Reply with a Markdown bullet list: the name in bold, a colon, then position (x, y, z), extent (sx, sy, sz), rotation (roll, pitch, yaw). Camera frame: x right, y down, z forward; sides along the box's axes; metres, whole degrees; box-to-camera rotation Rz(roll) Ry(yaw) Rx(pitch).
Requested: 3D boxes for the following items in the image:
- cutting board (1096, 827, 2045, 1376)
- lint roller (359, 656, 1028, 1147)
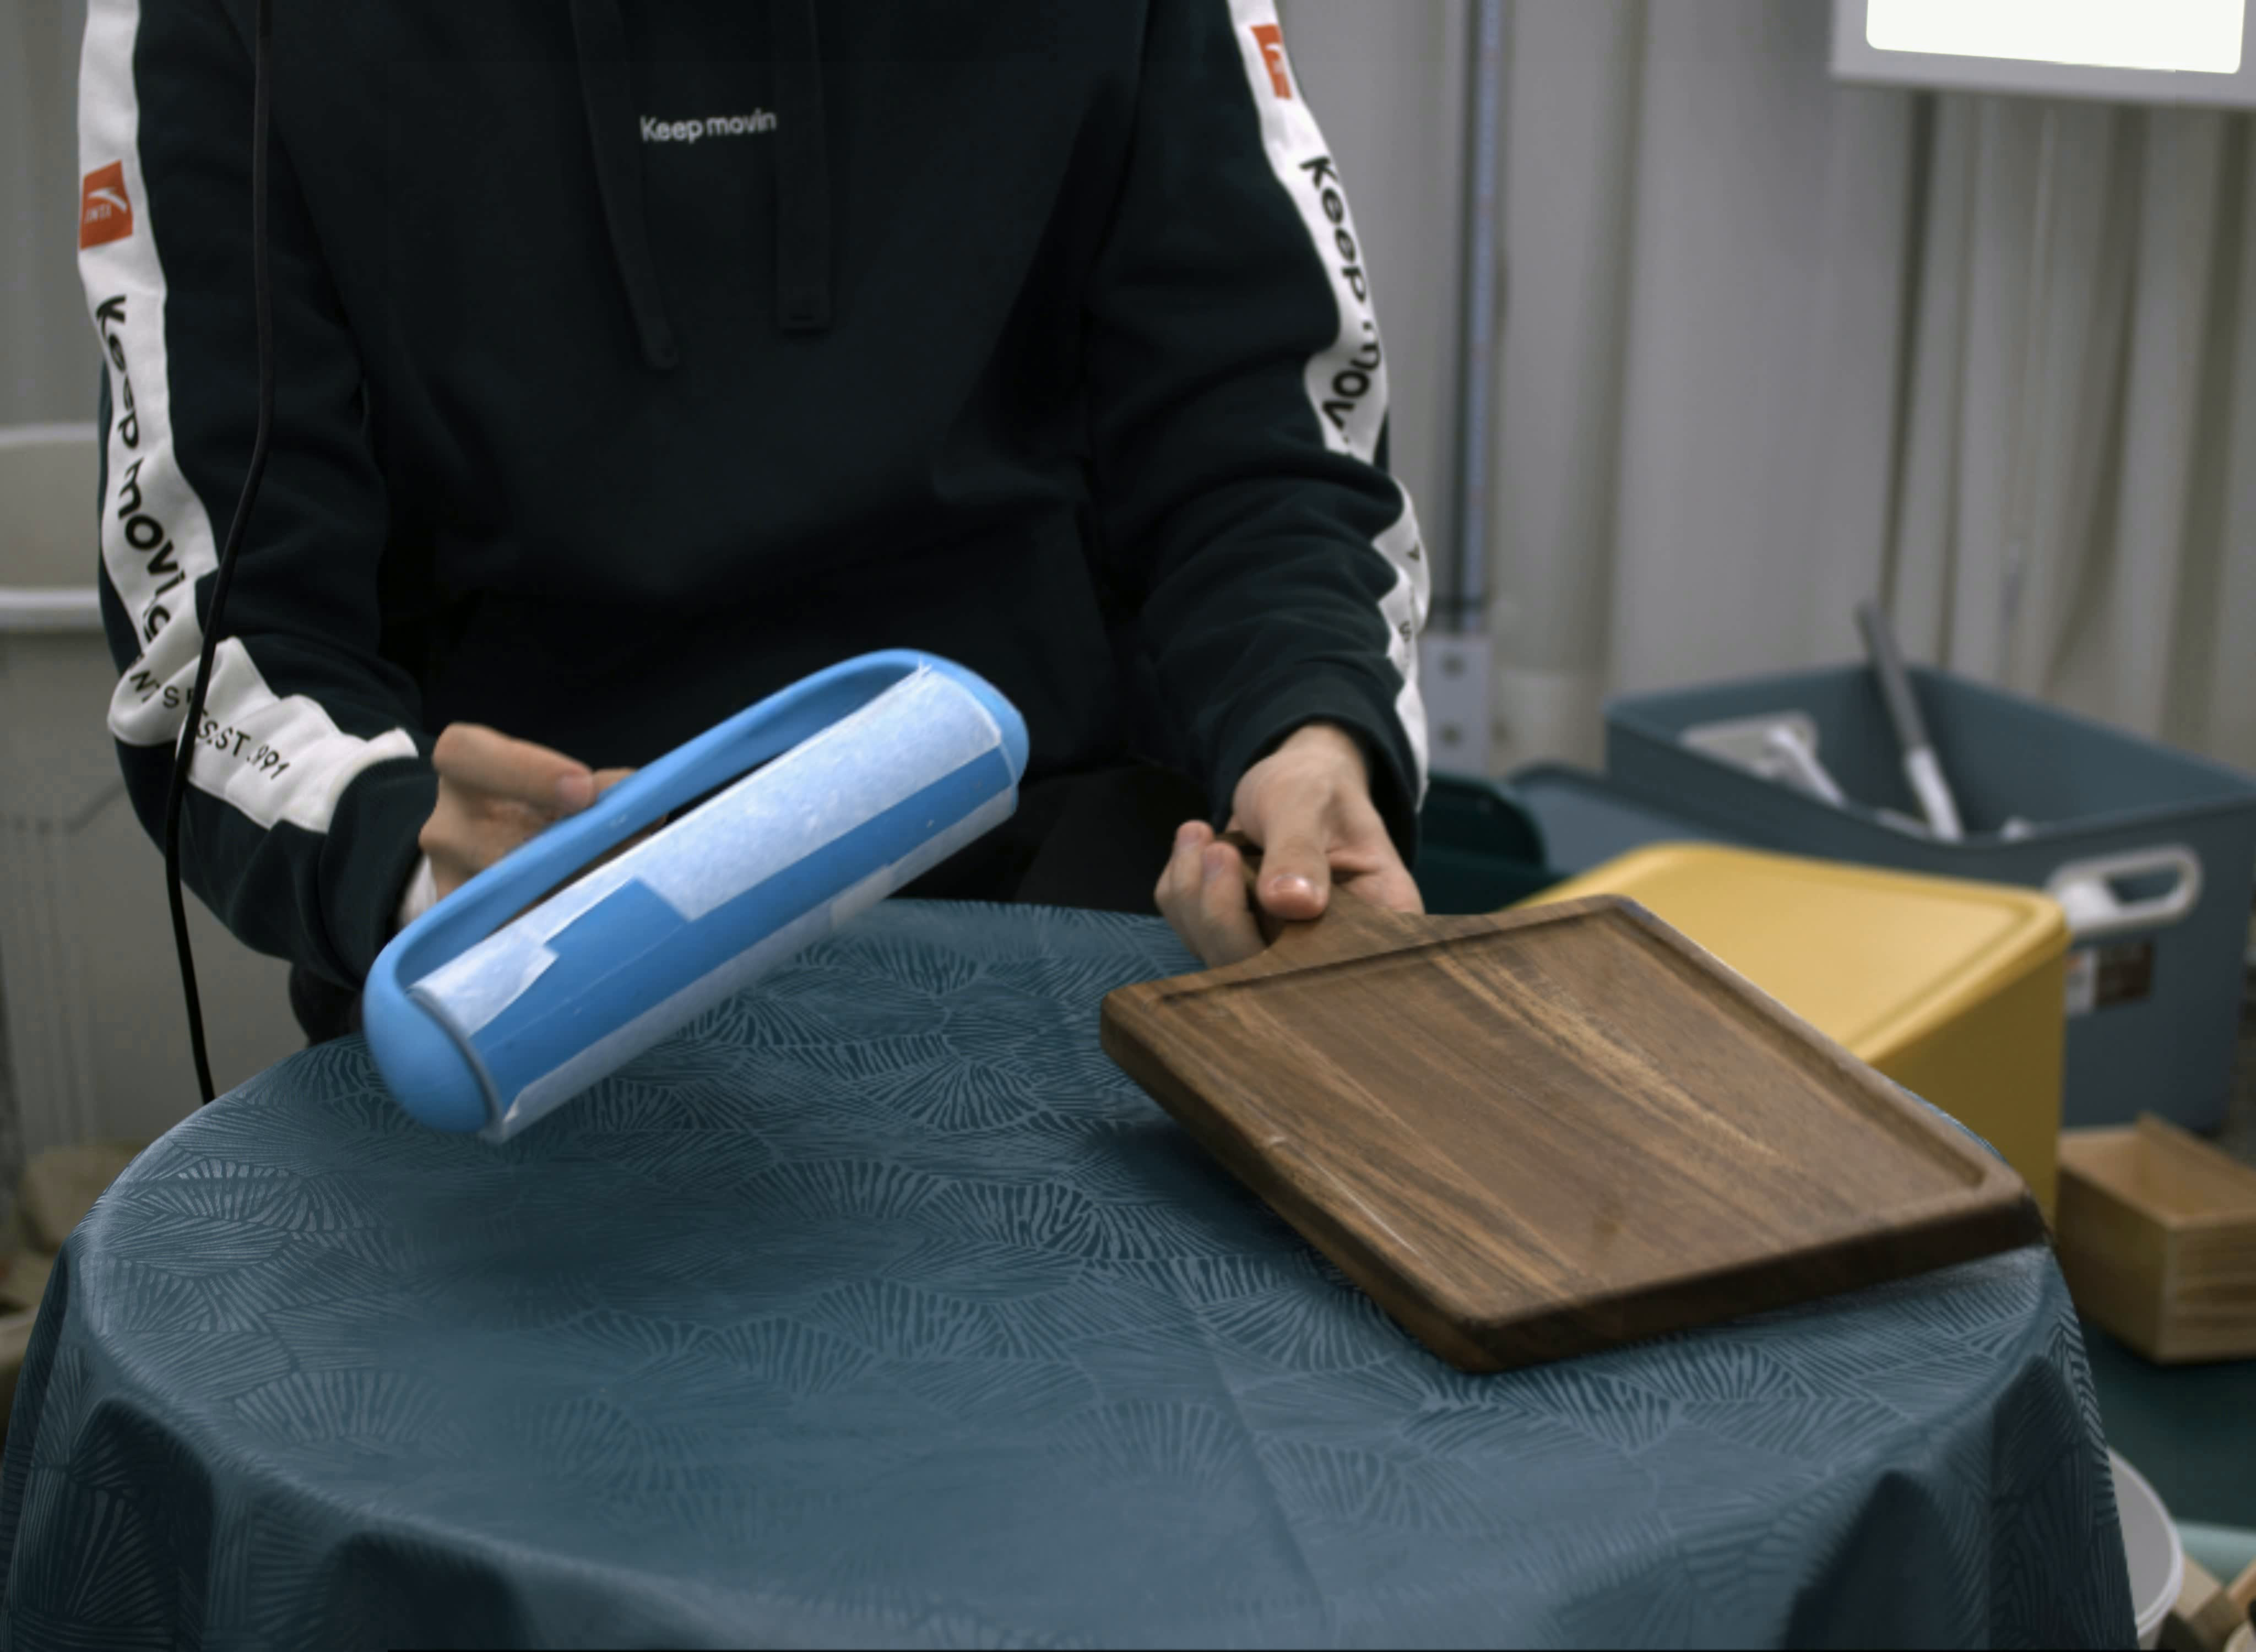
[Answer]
- **cutting board**: position (0.109, 0.071, 1.647), extent (0.202, 0.023, 0.347), rotation (-9, 25, -25)
- **lint roller**: position (-0.153, 0.023, 1.614), extent (0.229, 0.068, 0.178), rotation (-35, 16, -26)
